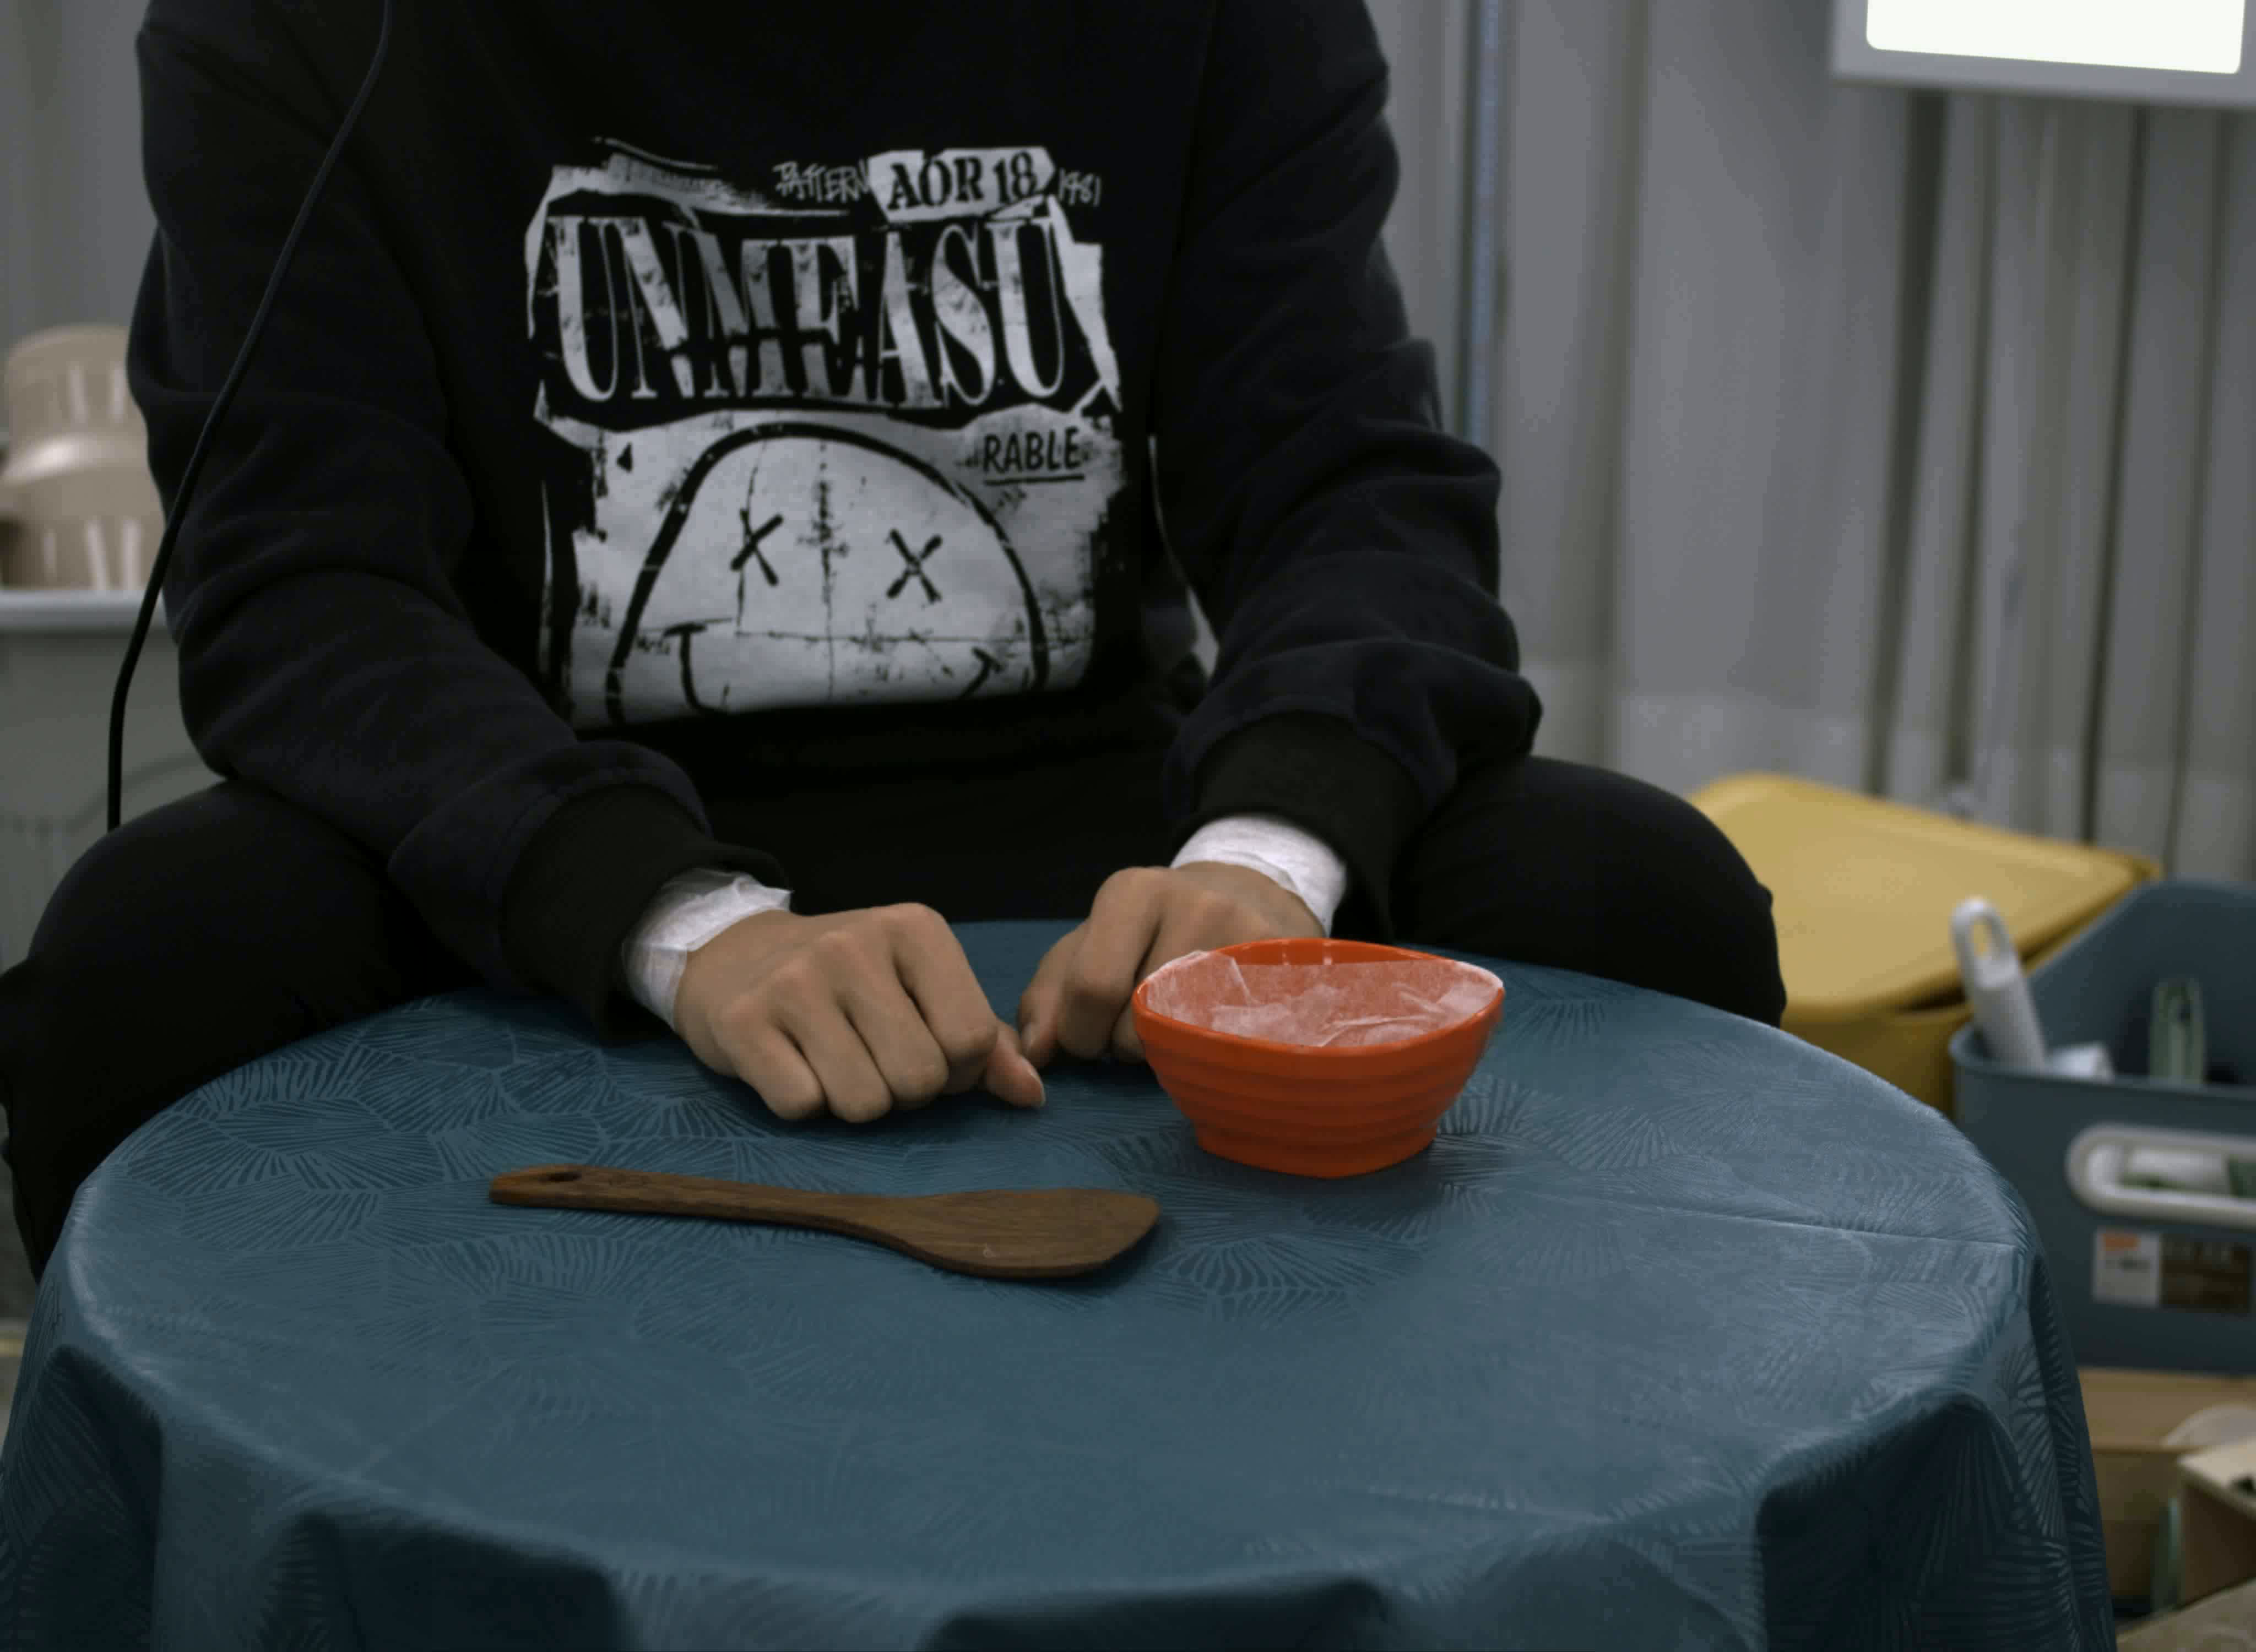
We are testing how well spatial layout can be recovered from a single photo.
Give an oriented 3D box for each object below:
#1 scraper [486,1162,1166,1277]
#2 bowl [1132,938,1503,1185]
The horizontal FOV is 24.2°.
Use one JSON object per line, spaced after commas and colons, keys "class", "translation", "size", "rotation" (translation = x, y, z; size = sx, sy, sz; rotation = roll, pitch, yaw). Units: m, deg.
{"class": "scraper", "translation": [-0.094, 0.116, 1.596], "size": [0.209, 0.011, 0.076], "rotation": [4, 15, 15]}
{"class": "bowl", "translation": [0.060, 0.076, 1.667], "size": [0.118, 0.052, 0.118], "rotation": [0, 17, 1]}
